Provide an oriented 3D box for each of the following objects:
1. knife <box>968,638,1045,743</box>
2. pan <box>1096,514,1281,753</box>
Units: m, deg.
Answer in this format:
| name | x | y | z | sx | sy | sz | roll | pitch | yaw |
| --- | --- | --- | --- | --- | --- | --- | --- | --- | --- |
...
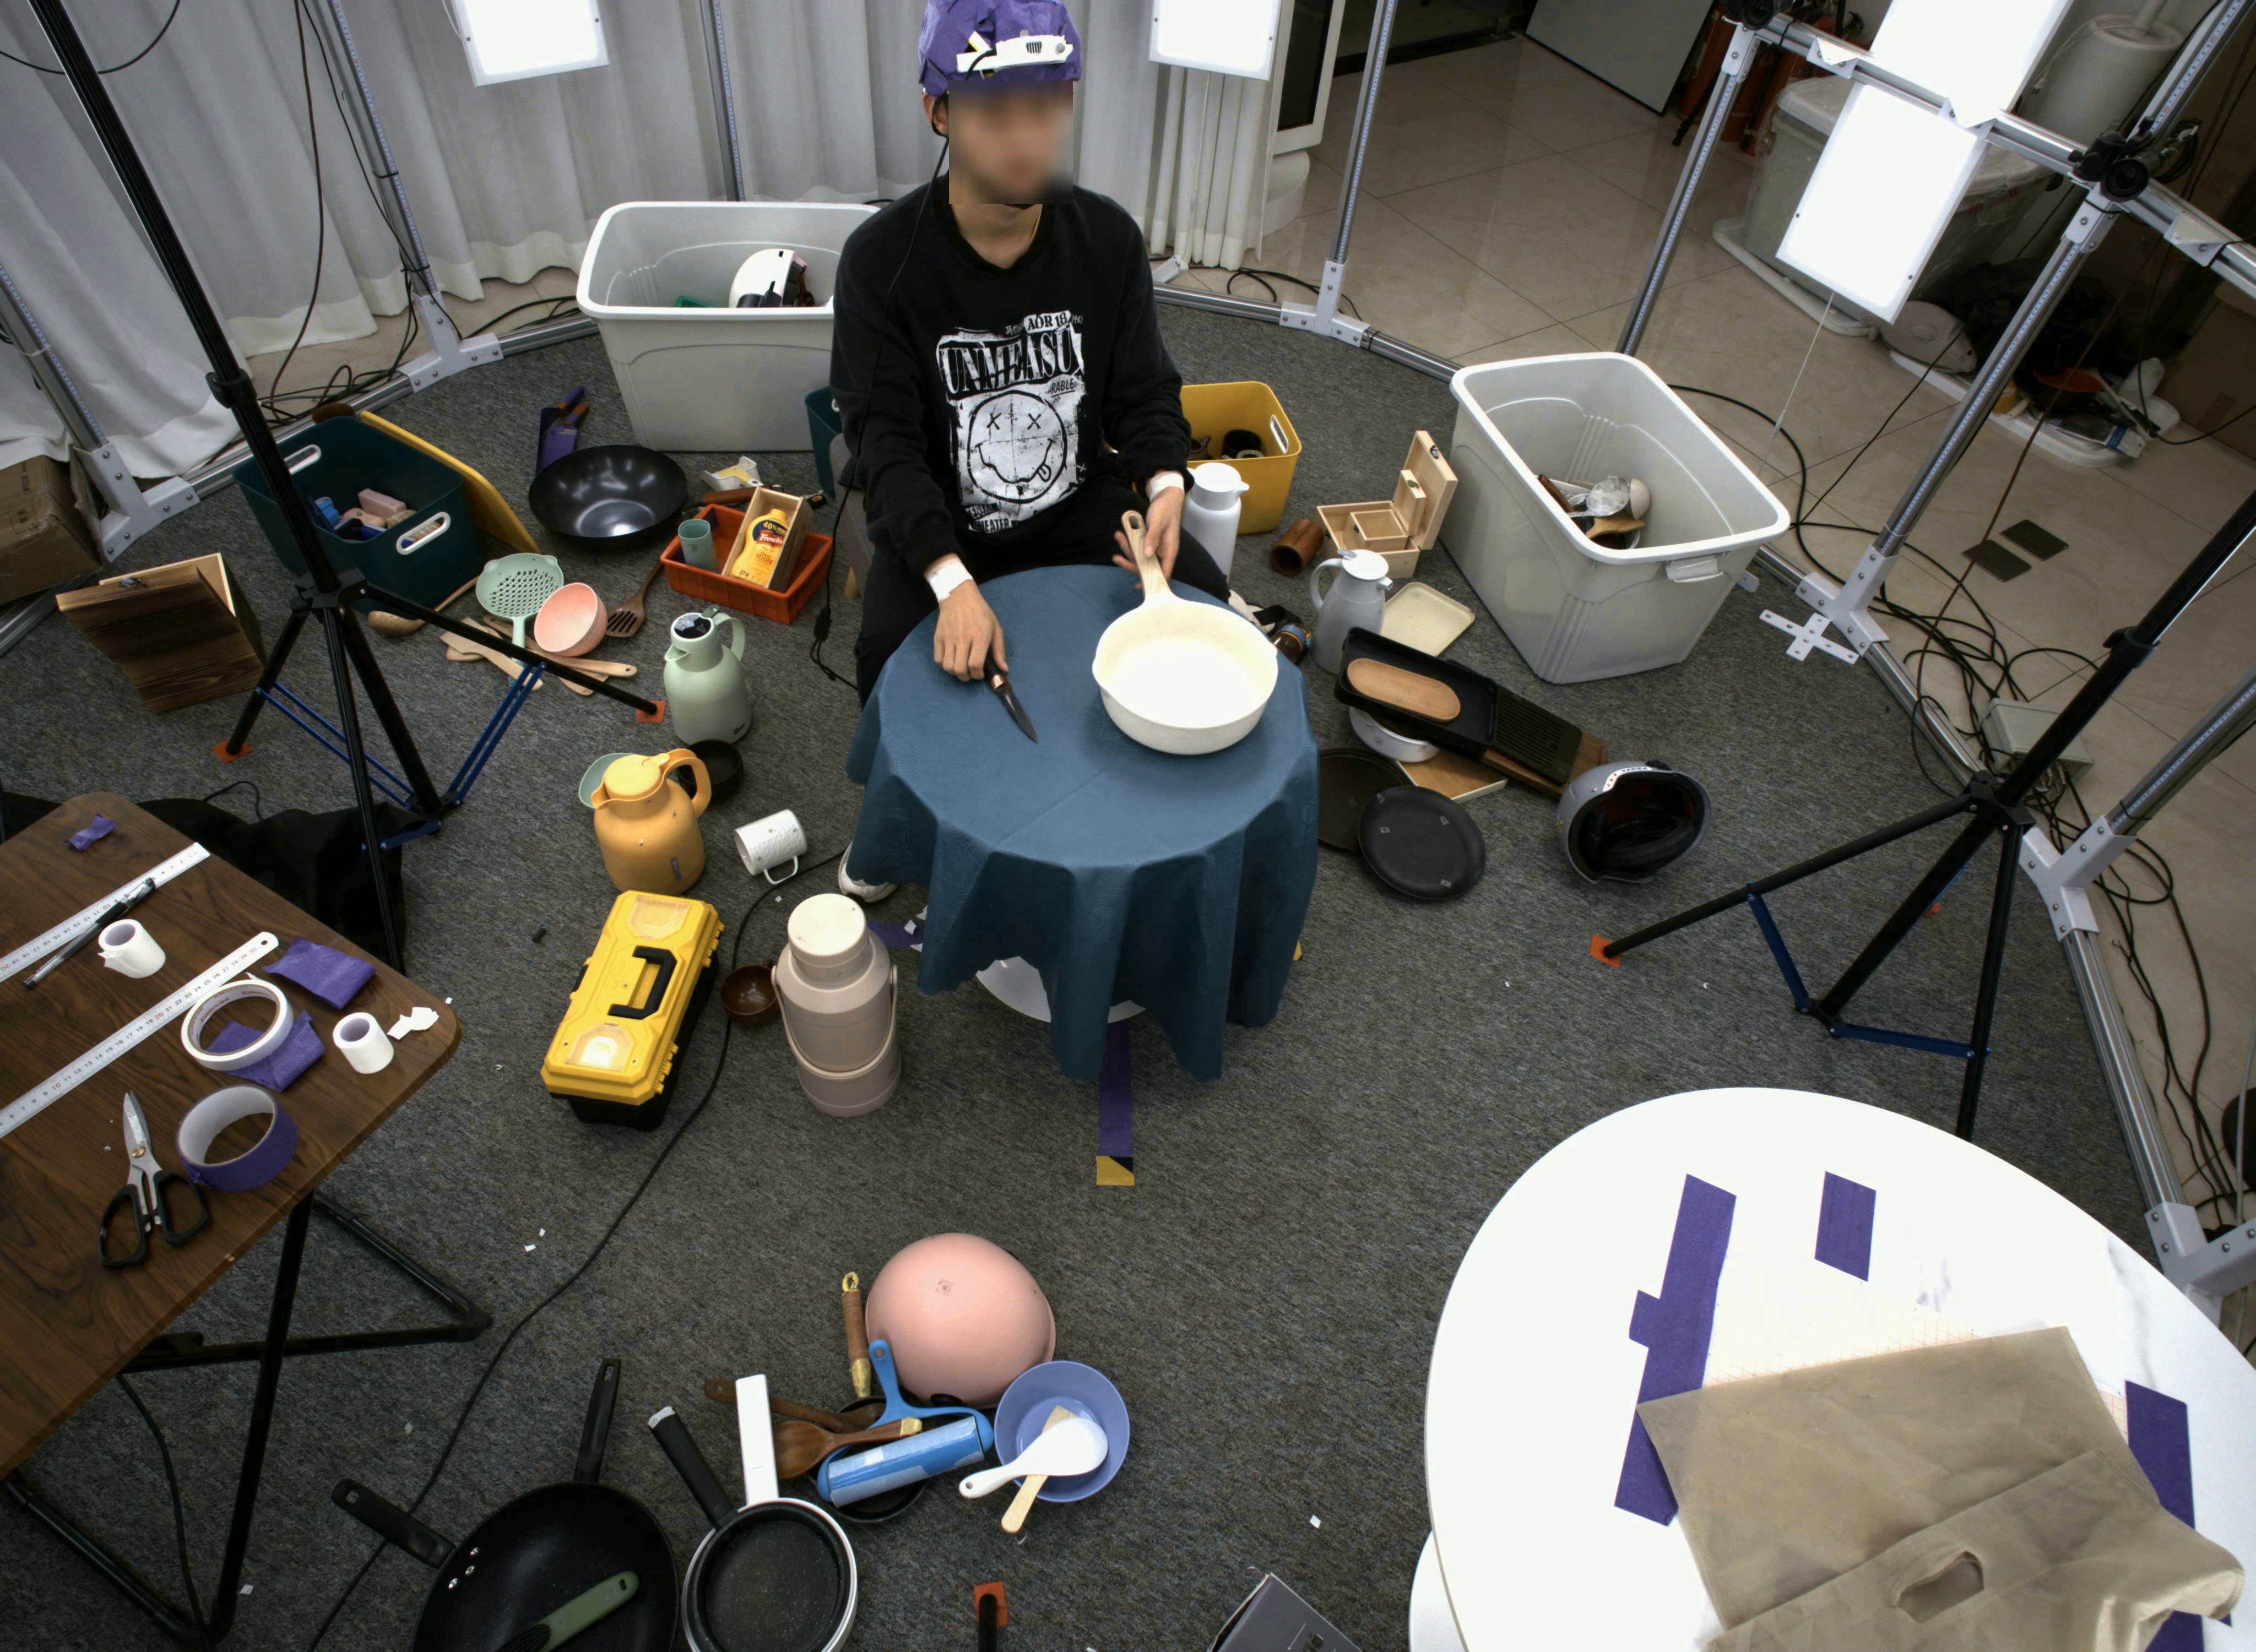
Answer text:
| name | x | y | z | sx | sy | sz | roll | pitch | yaw |
| --- | --- | --- | --- | --- | --- | --- | --- | --- | --- |
| knife | -0.174 | -0.194 | 1.821 | 0.026 | 0.017 | 0.230 | -9 | 49 | -33 |
| pan | 0.059 | -0.278 | 1.849 | 0.263 | 0.099 | 0.445 | -11 | 51 | -11 |
